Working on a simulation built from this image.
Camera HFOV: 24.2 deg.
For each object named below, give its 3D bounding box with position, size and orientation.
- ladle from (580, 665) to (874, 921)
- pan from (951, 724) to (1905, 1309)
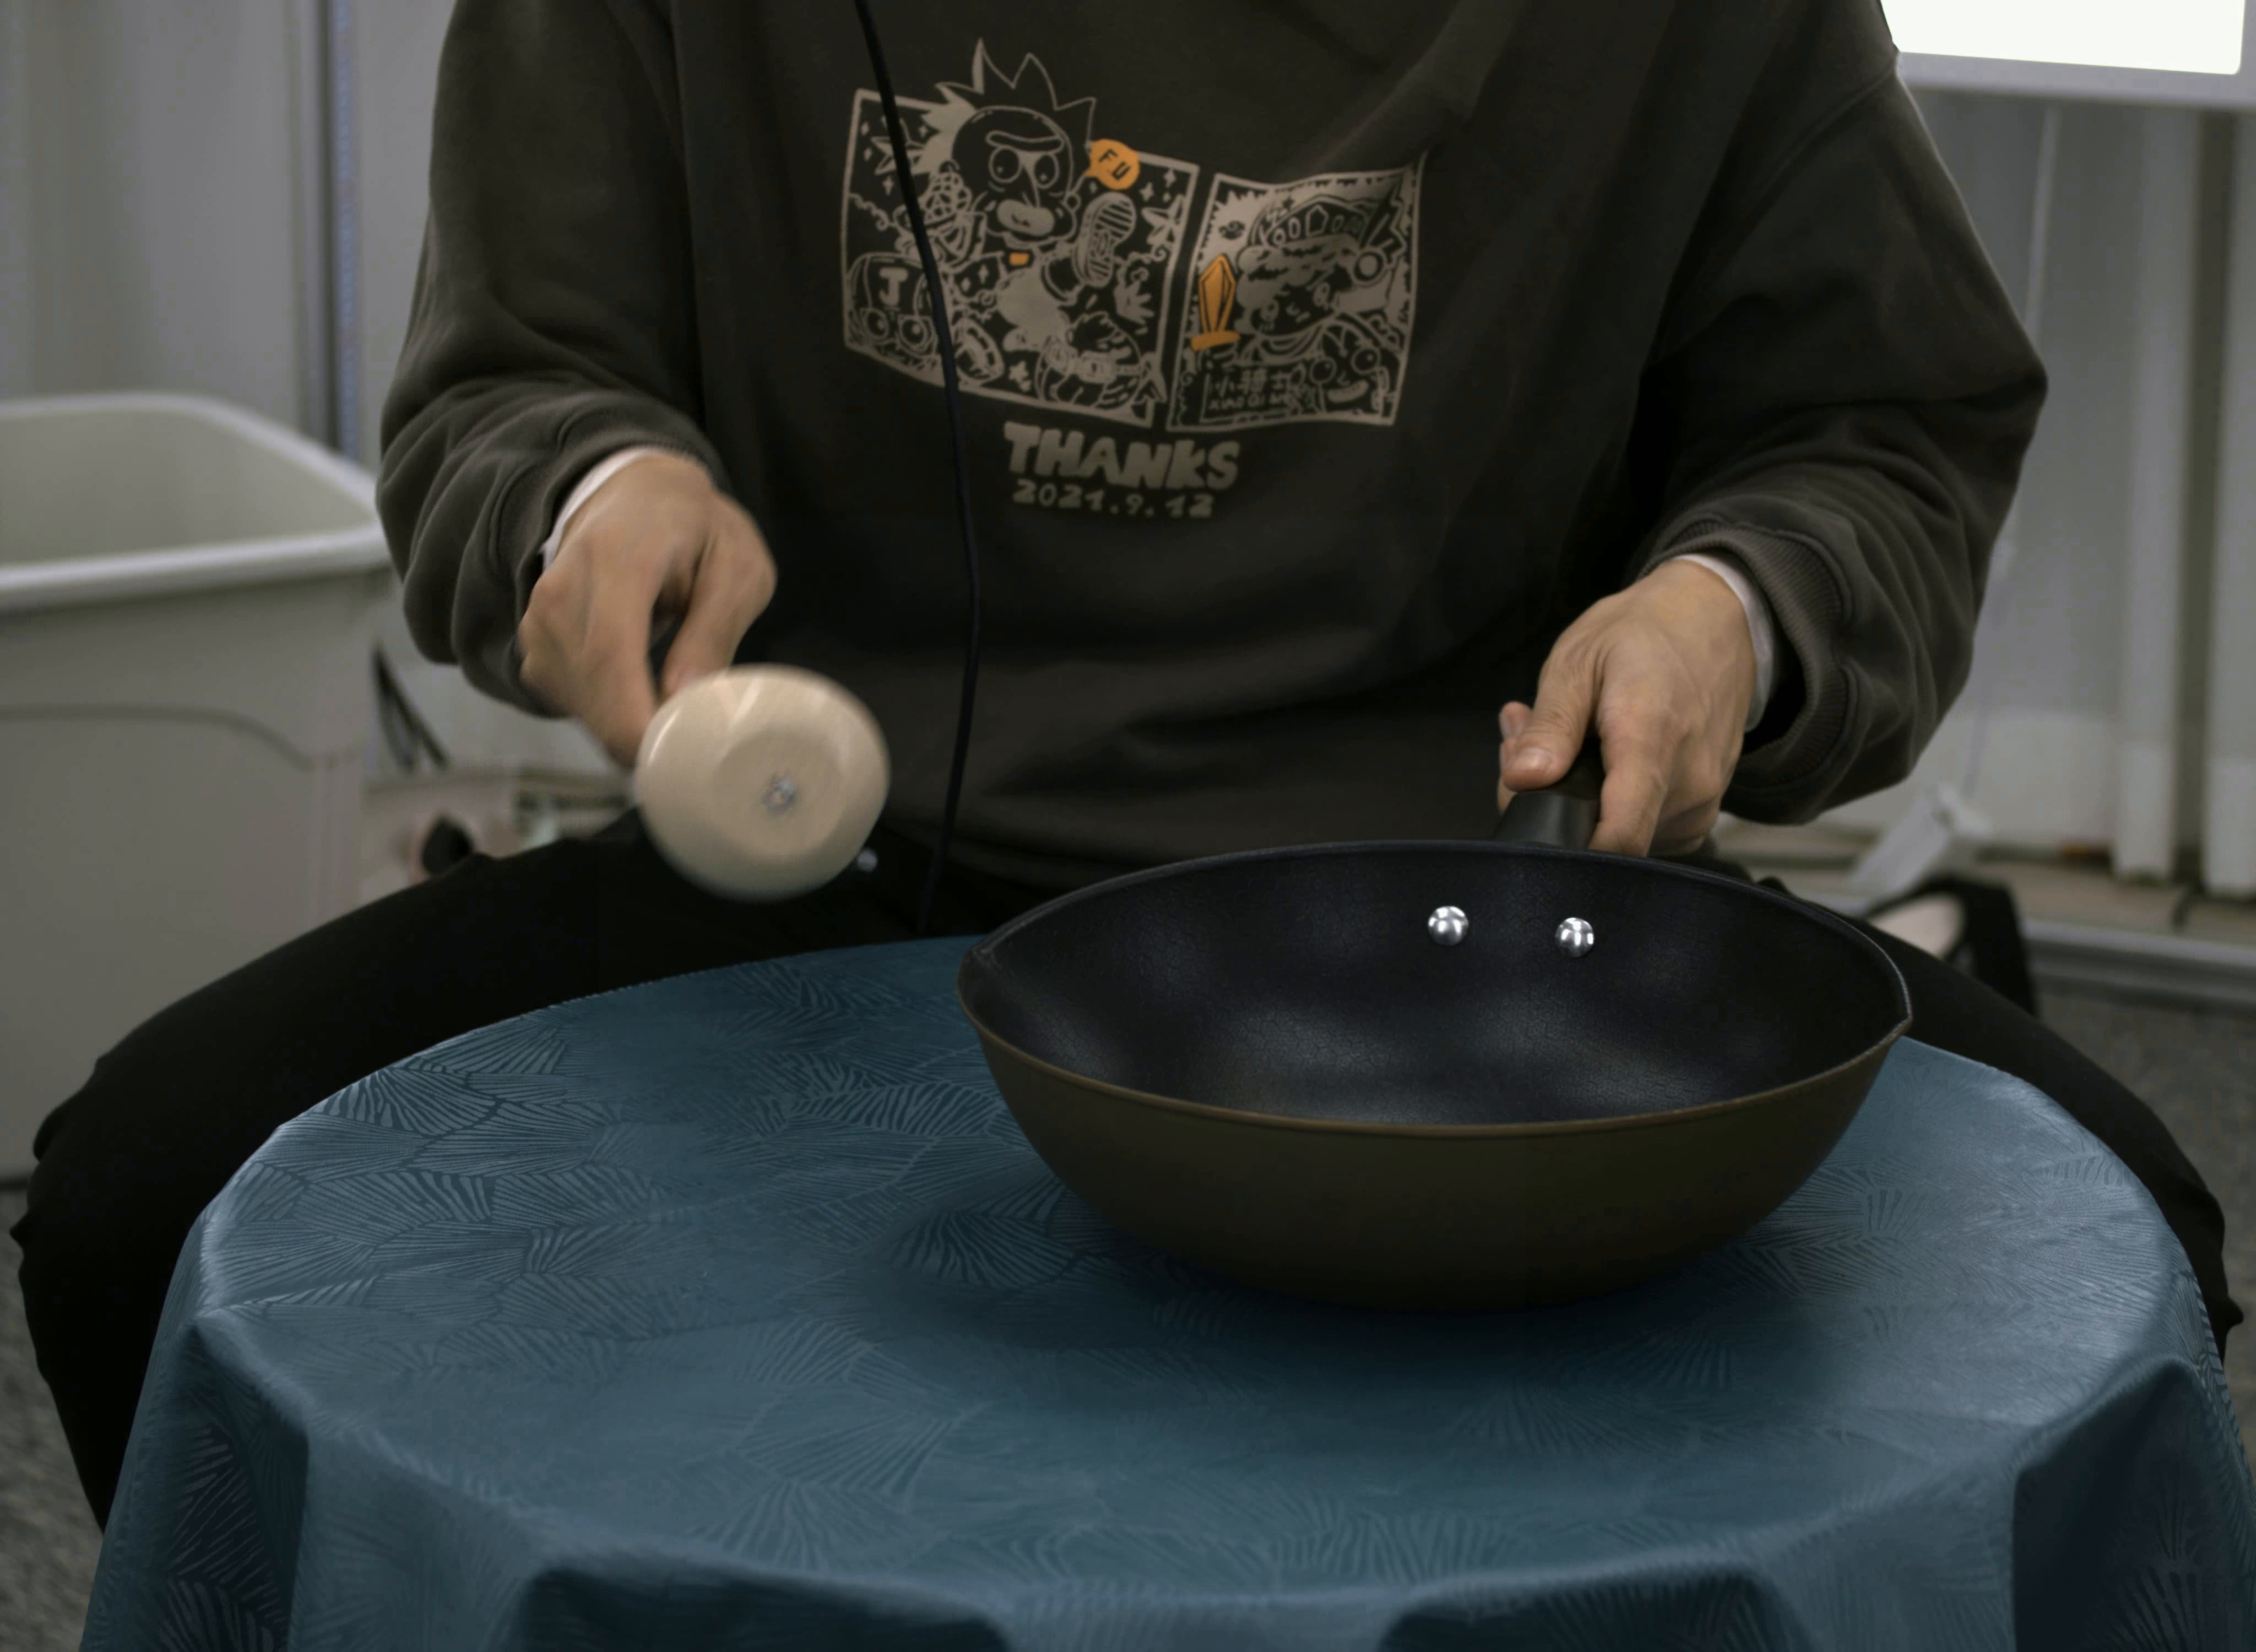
[{"bbox_3d":[-0.130,-0.038,1.623,0.073,0.073,0.252,32,9,-20],"label":"ladle"},{"bbox_3d":[0.113,0.057,1.669,0.286,0.087,0.463,4,16,14],"label":"pan"}]
